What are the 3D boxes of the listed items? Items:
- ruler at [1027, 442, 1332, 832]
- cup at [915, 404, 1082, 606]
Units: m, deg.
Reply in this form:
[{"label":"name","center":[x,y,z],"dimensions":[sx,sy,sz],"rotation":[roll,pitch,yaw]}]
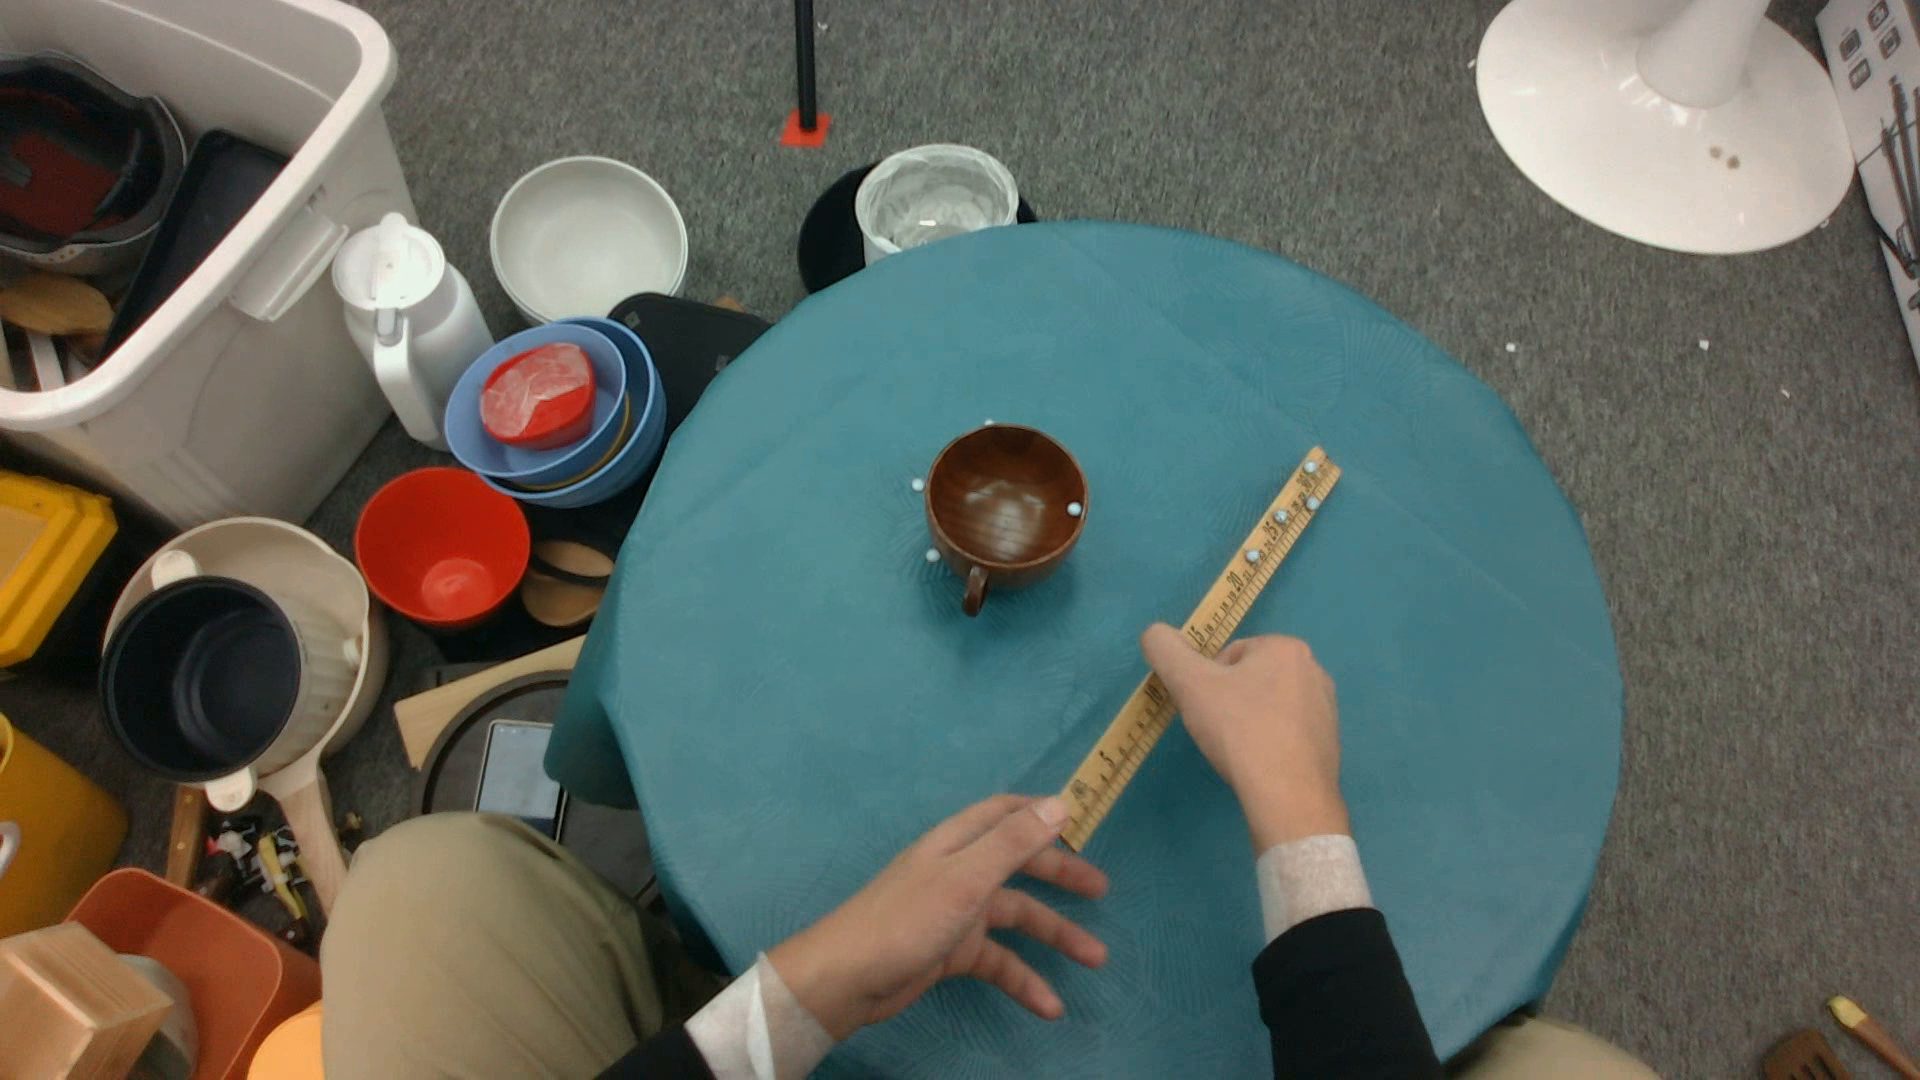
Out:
[{"label":"ruler","center":[0.136,0.039,0.768],"dimensions":[0.027,0.022,0.333],"rotation":[46,53,-1]},{"label":"cup","center":[0.017,-0.012,0.807],"dimensions":[0.096,0.067,0.120],"rotation":[17,65,3]}]
